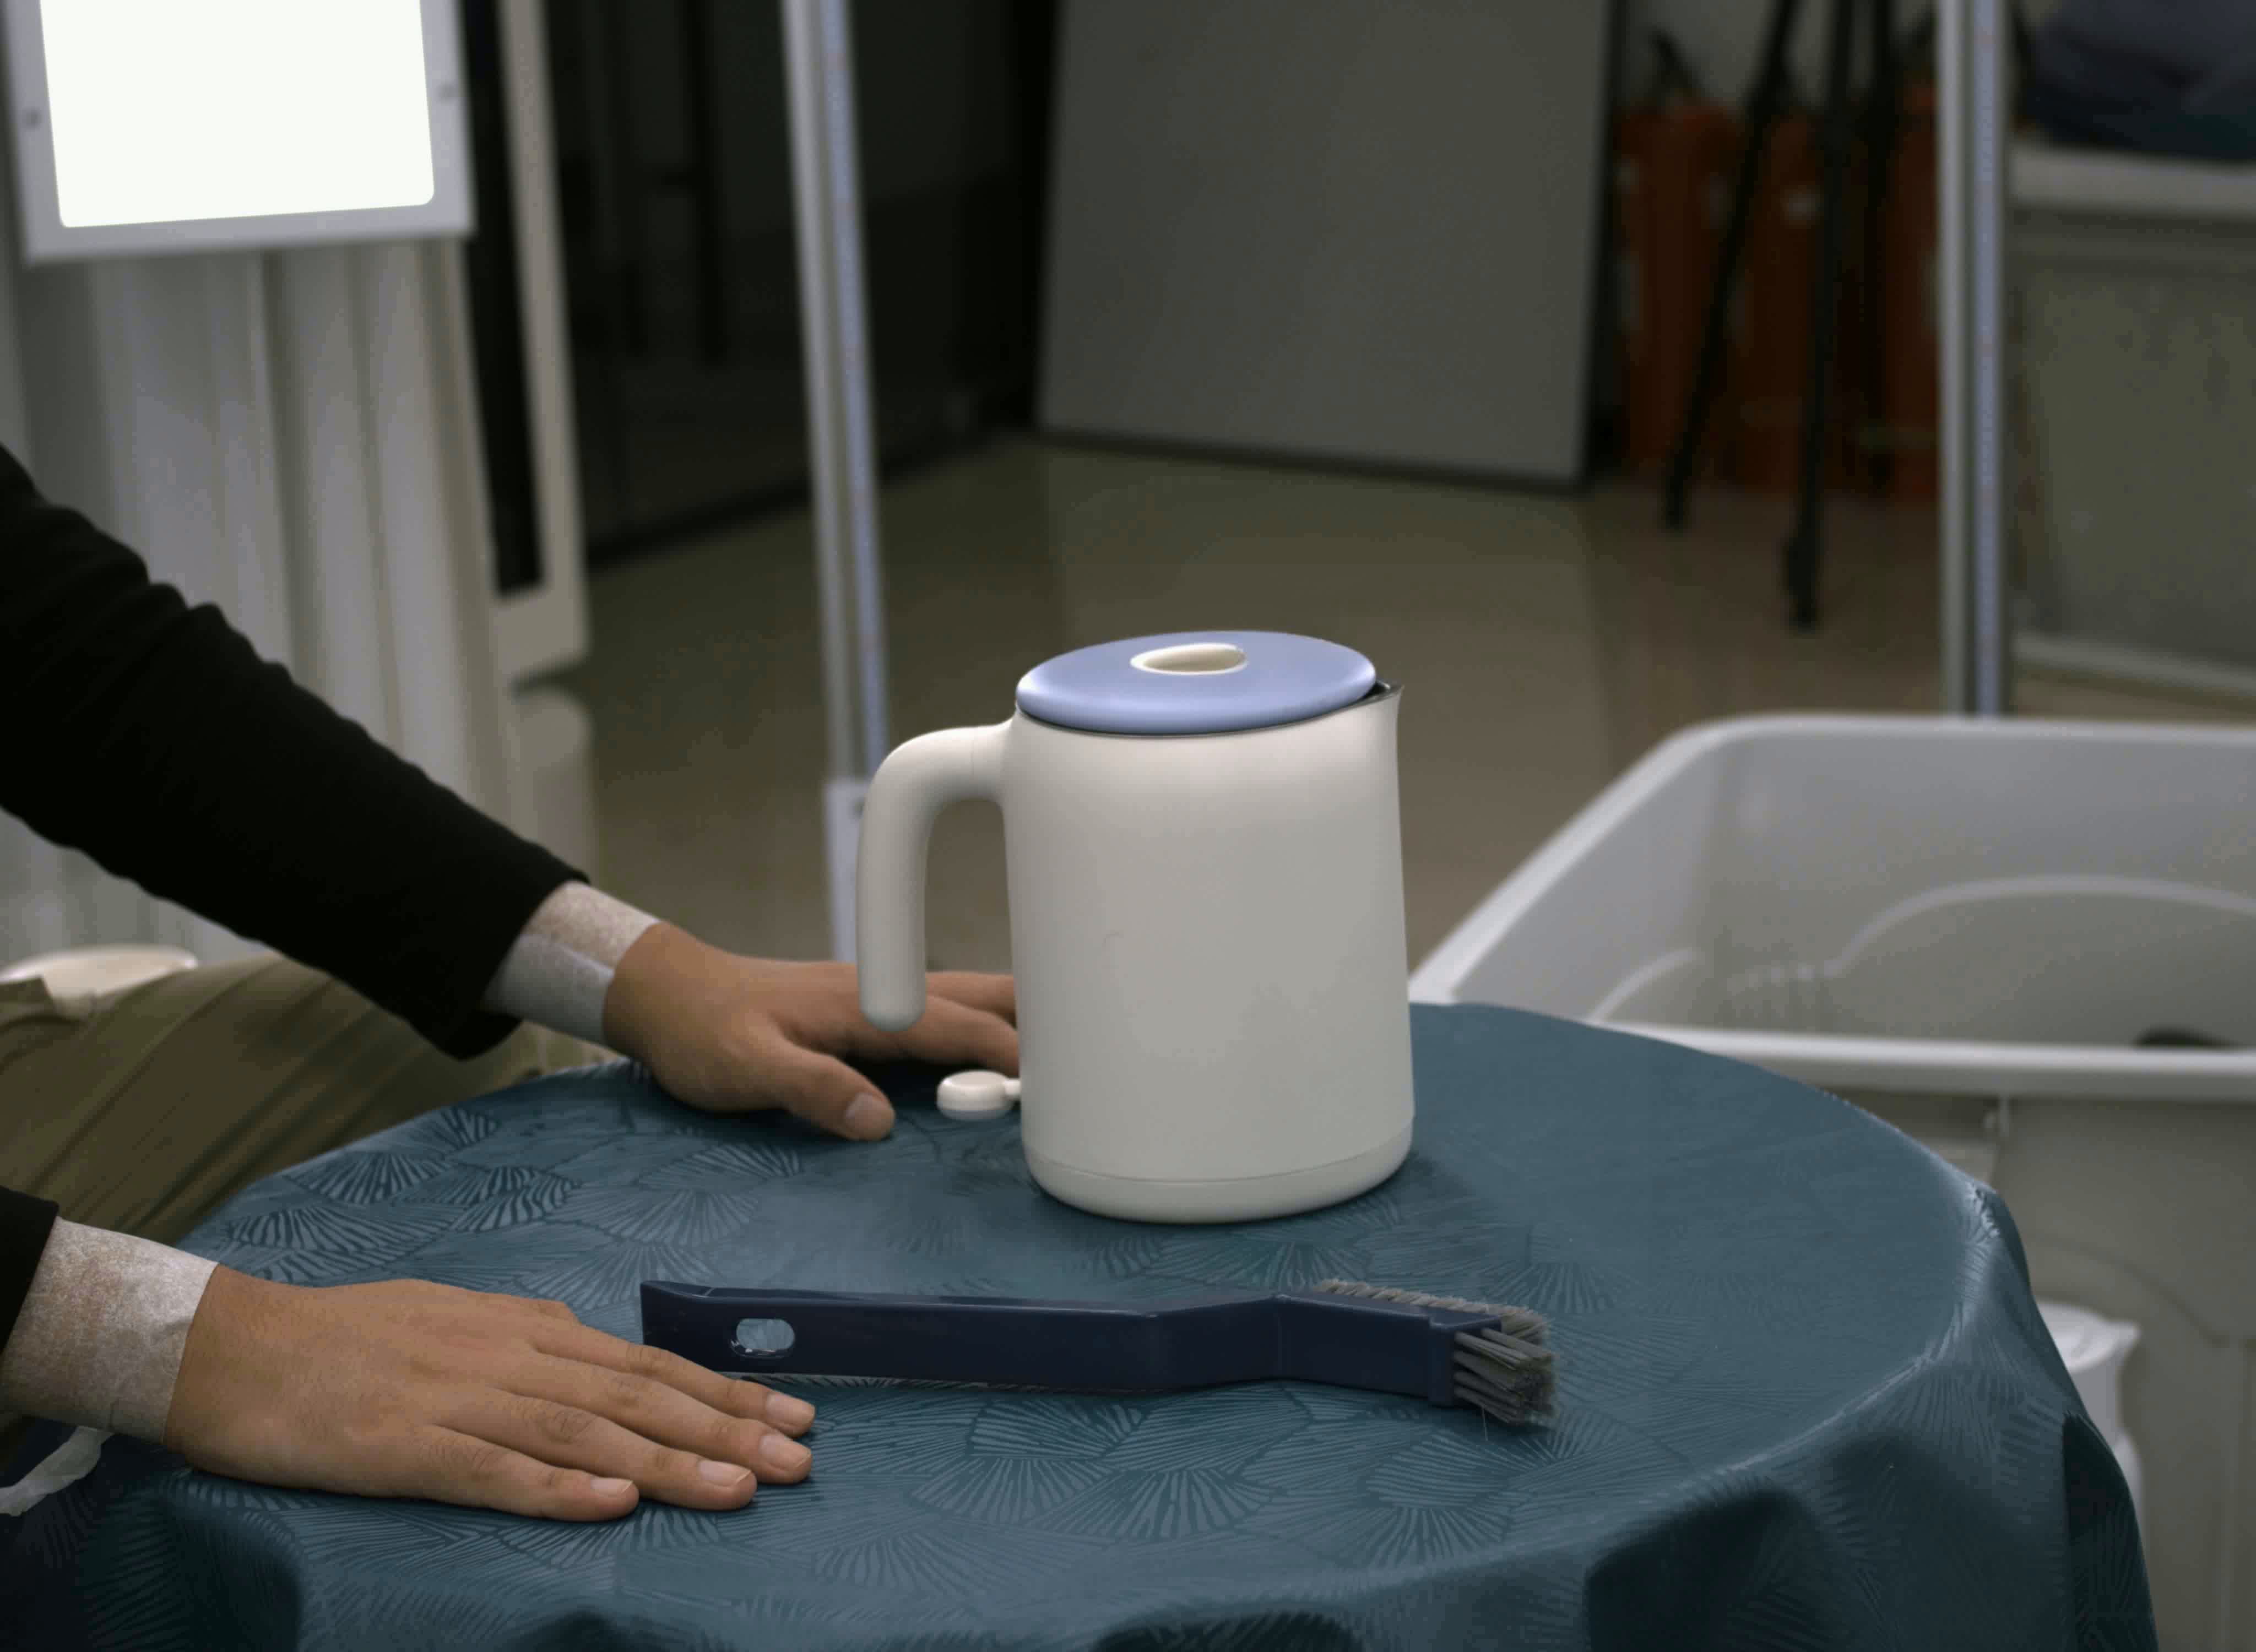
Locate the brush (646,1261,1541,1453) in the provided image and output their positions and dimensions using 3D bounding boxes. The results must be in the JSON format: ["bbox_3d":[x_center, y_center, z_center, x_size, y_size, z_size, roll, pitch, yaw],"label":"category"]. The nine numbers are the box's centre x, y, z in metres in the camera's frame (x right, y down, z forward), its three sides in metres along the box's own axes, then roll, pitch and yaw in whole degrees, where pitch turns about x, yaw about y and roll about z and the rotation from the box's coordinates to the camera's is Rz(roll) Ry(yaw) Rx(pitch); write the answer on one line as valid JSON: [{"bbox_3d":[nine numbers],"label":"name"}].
[{"bbox_3d":[-0.014,0.153,1.579,0.271,0.034,0.095,-1,17,9],"label":"brush"}]

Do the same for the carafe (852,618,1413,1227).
[{"bbox_3d":[0.002,0.032,1.770,0.189,0.184,0.132,-3,13,10],"label":"carafe"}]
